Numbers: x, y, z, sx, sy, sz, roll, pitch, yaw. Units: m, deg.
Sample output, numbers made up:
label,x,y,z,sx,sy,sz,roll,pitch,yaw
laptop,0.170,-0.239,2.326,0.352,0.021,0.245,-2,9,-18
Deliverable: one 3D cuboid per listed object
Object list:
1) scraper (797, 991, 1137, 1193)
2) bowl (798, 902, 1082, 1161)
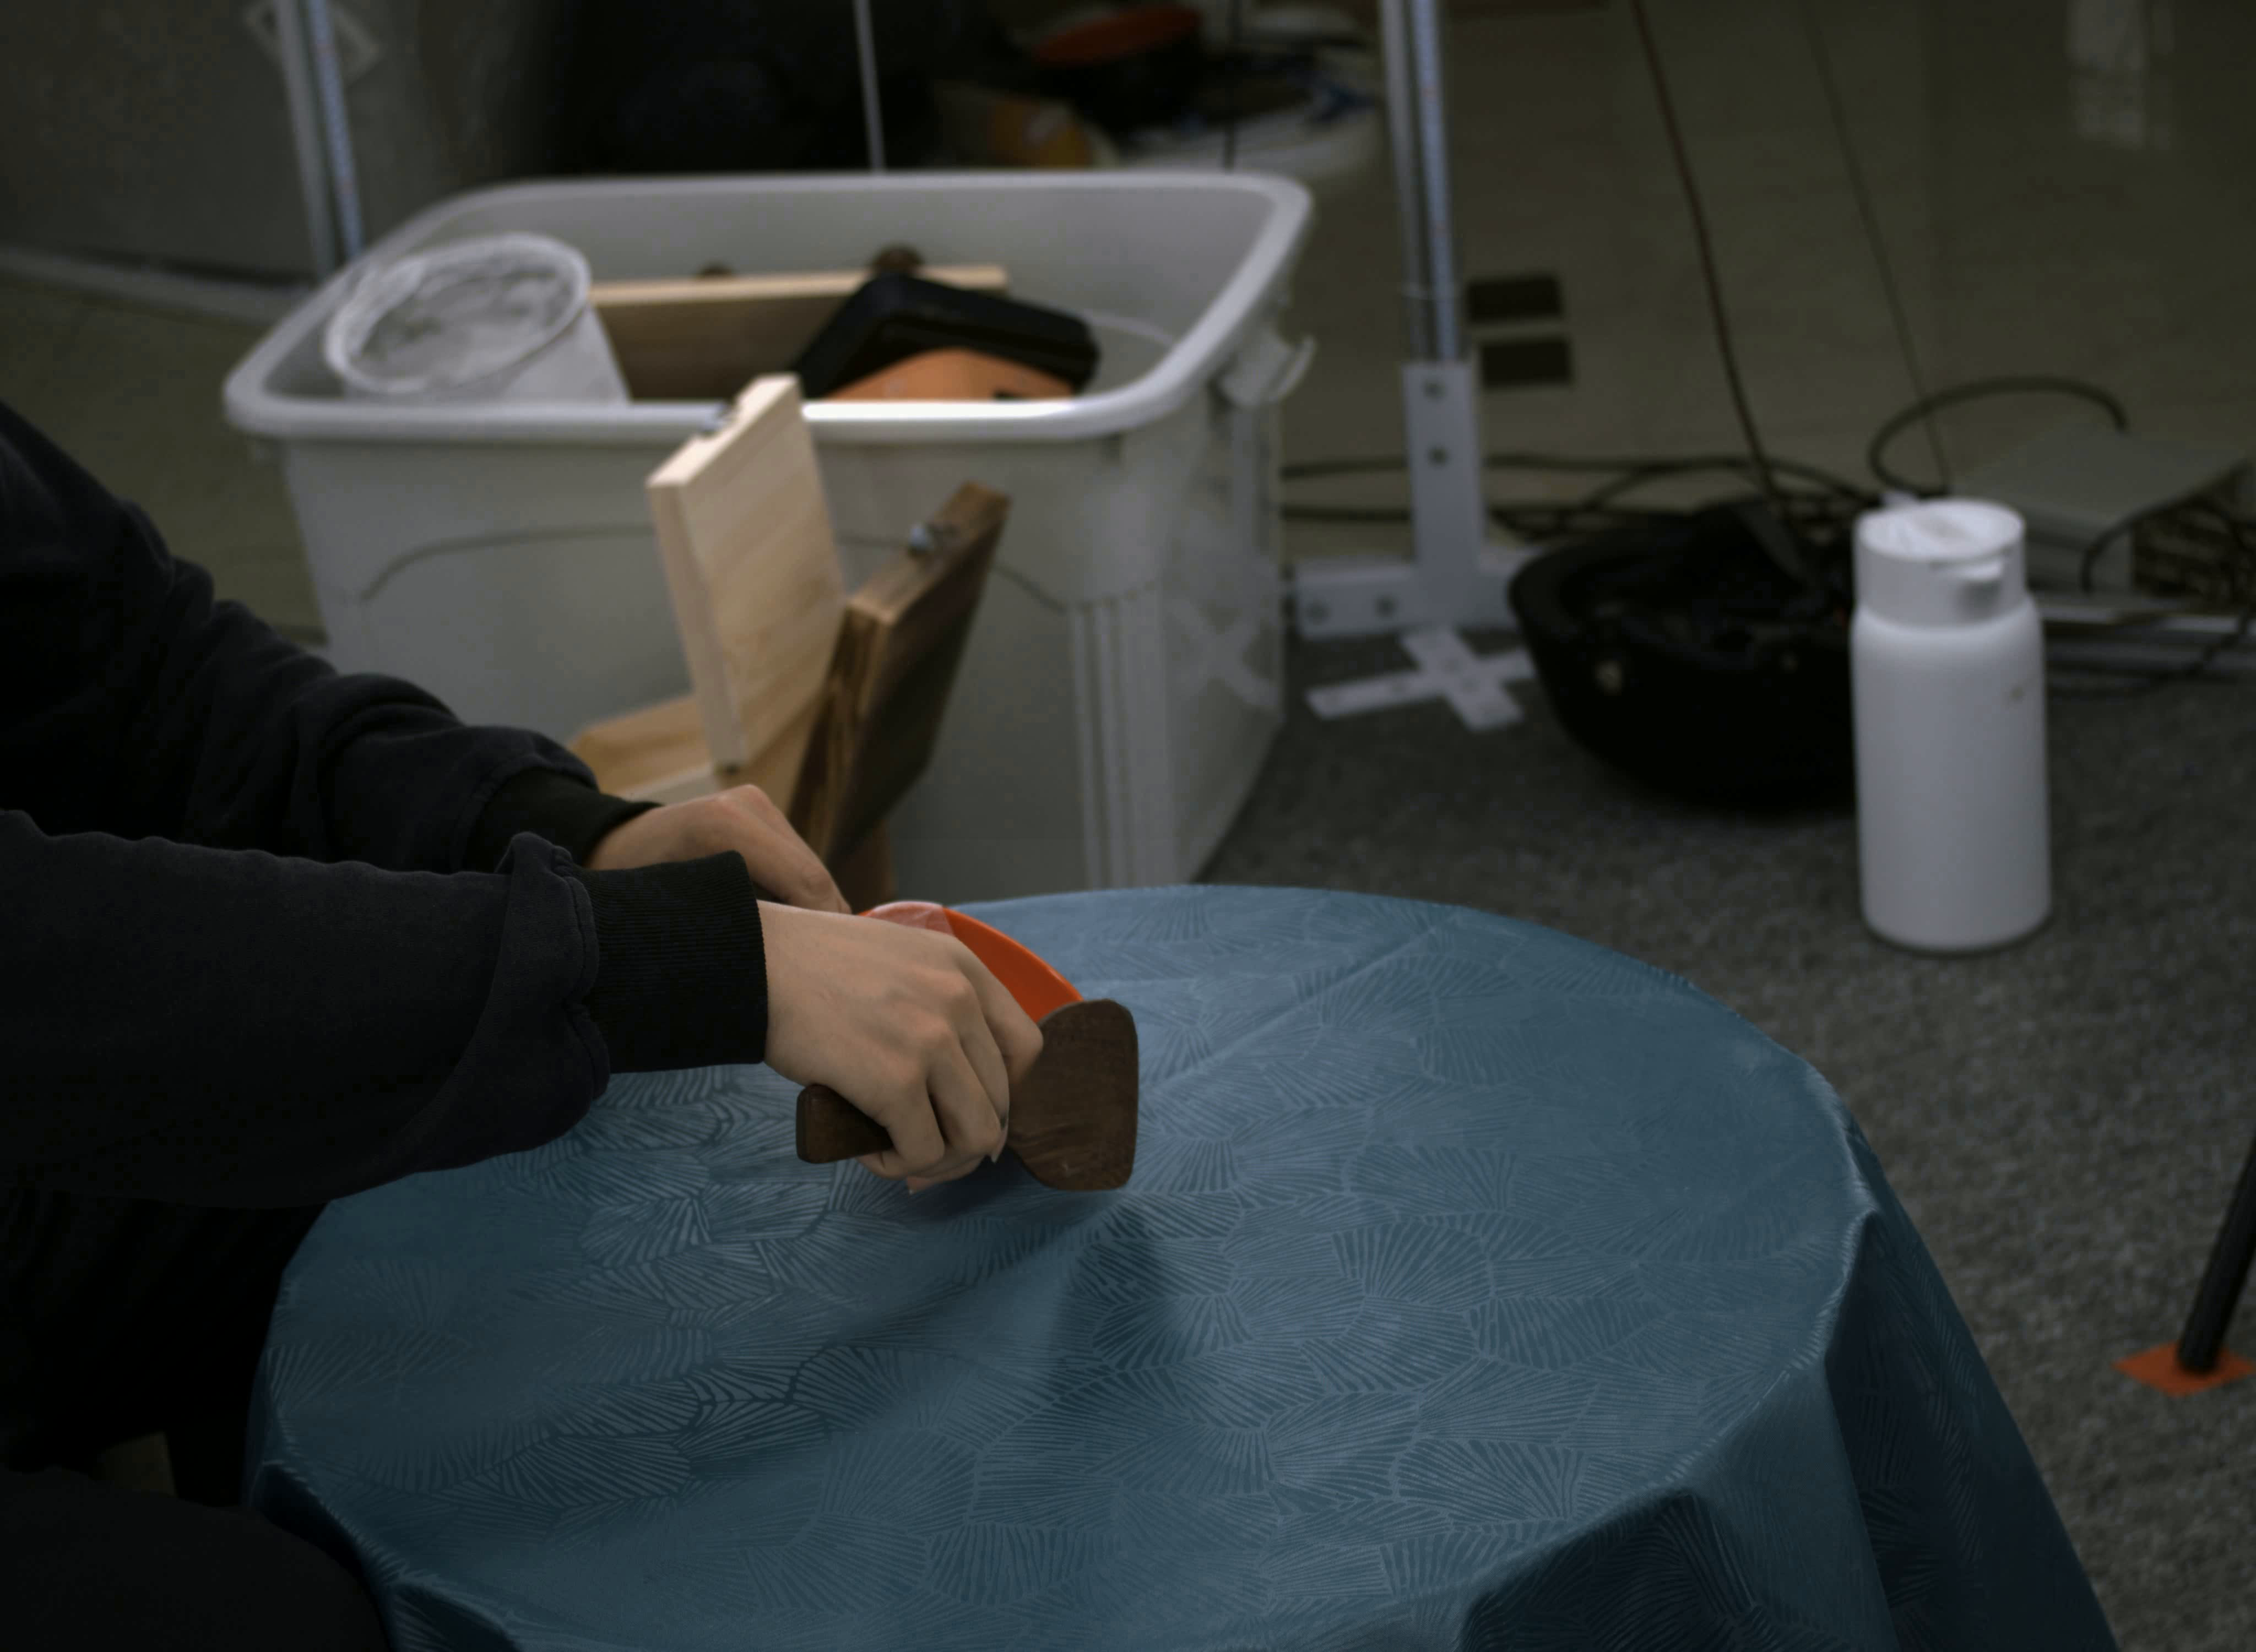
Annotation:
label,x,y,z,sx,sy,sz,roll,pitch,yaw
scraper,-0.057,0.101,2.063,0.011,0.076,0.211,4,3,33
bowl,-0.076,0.086,2.195,0.119,0.052,0.117,16,35,-11
